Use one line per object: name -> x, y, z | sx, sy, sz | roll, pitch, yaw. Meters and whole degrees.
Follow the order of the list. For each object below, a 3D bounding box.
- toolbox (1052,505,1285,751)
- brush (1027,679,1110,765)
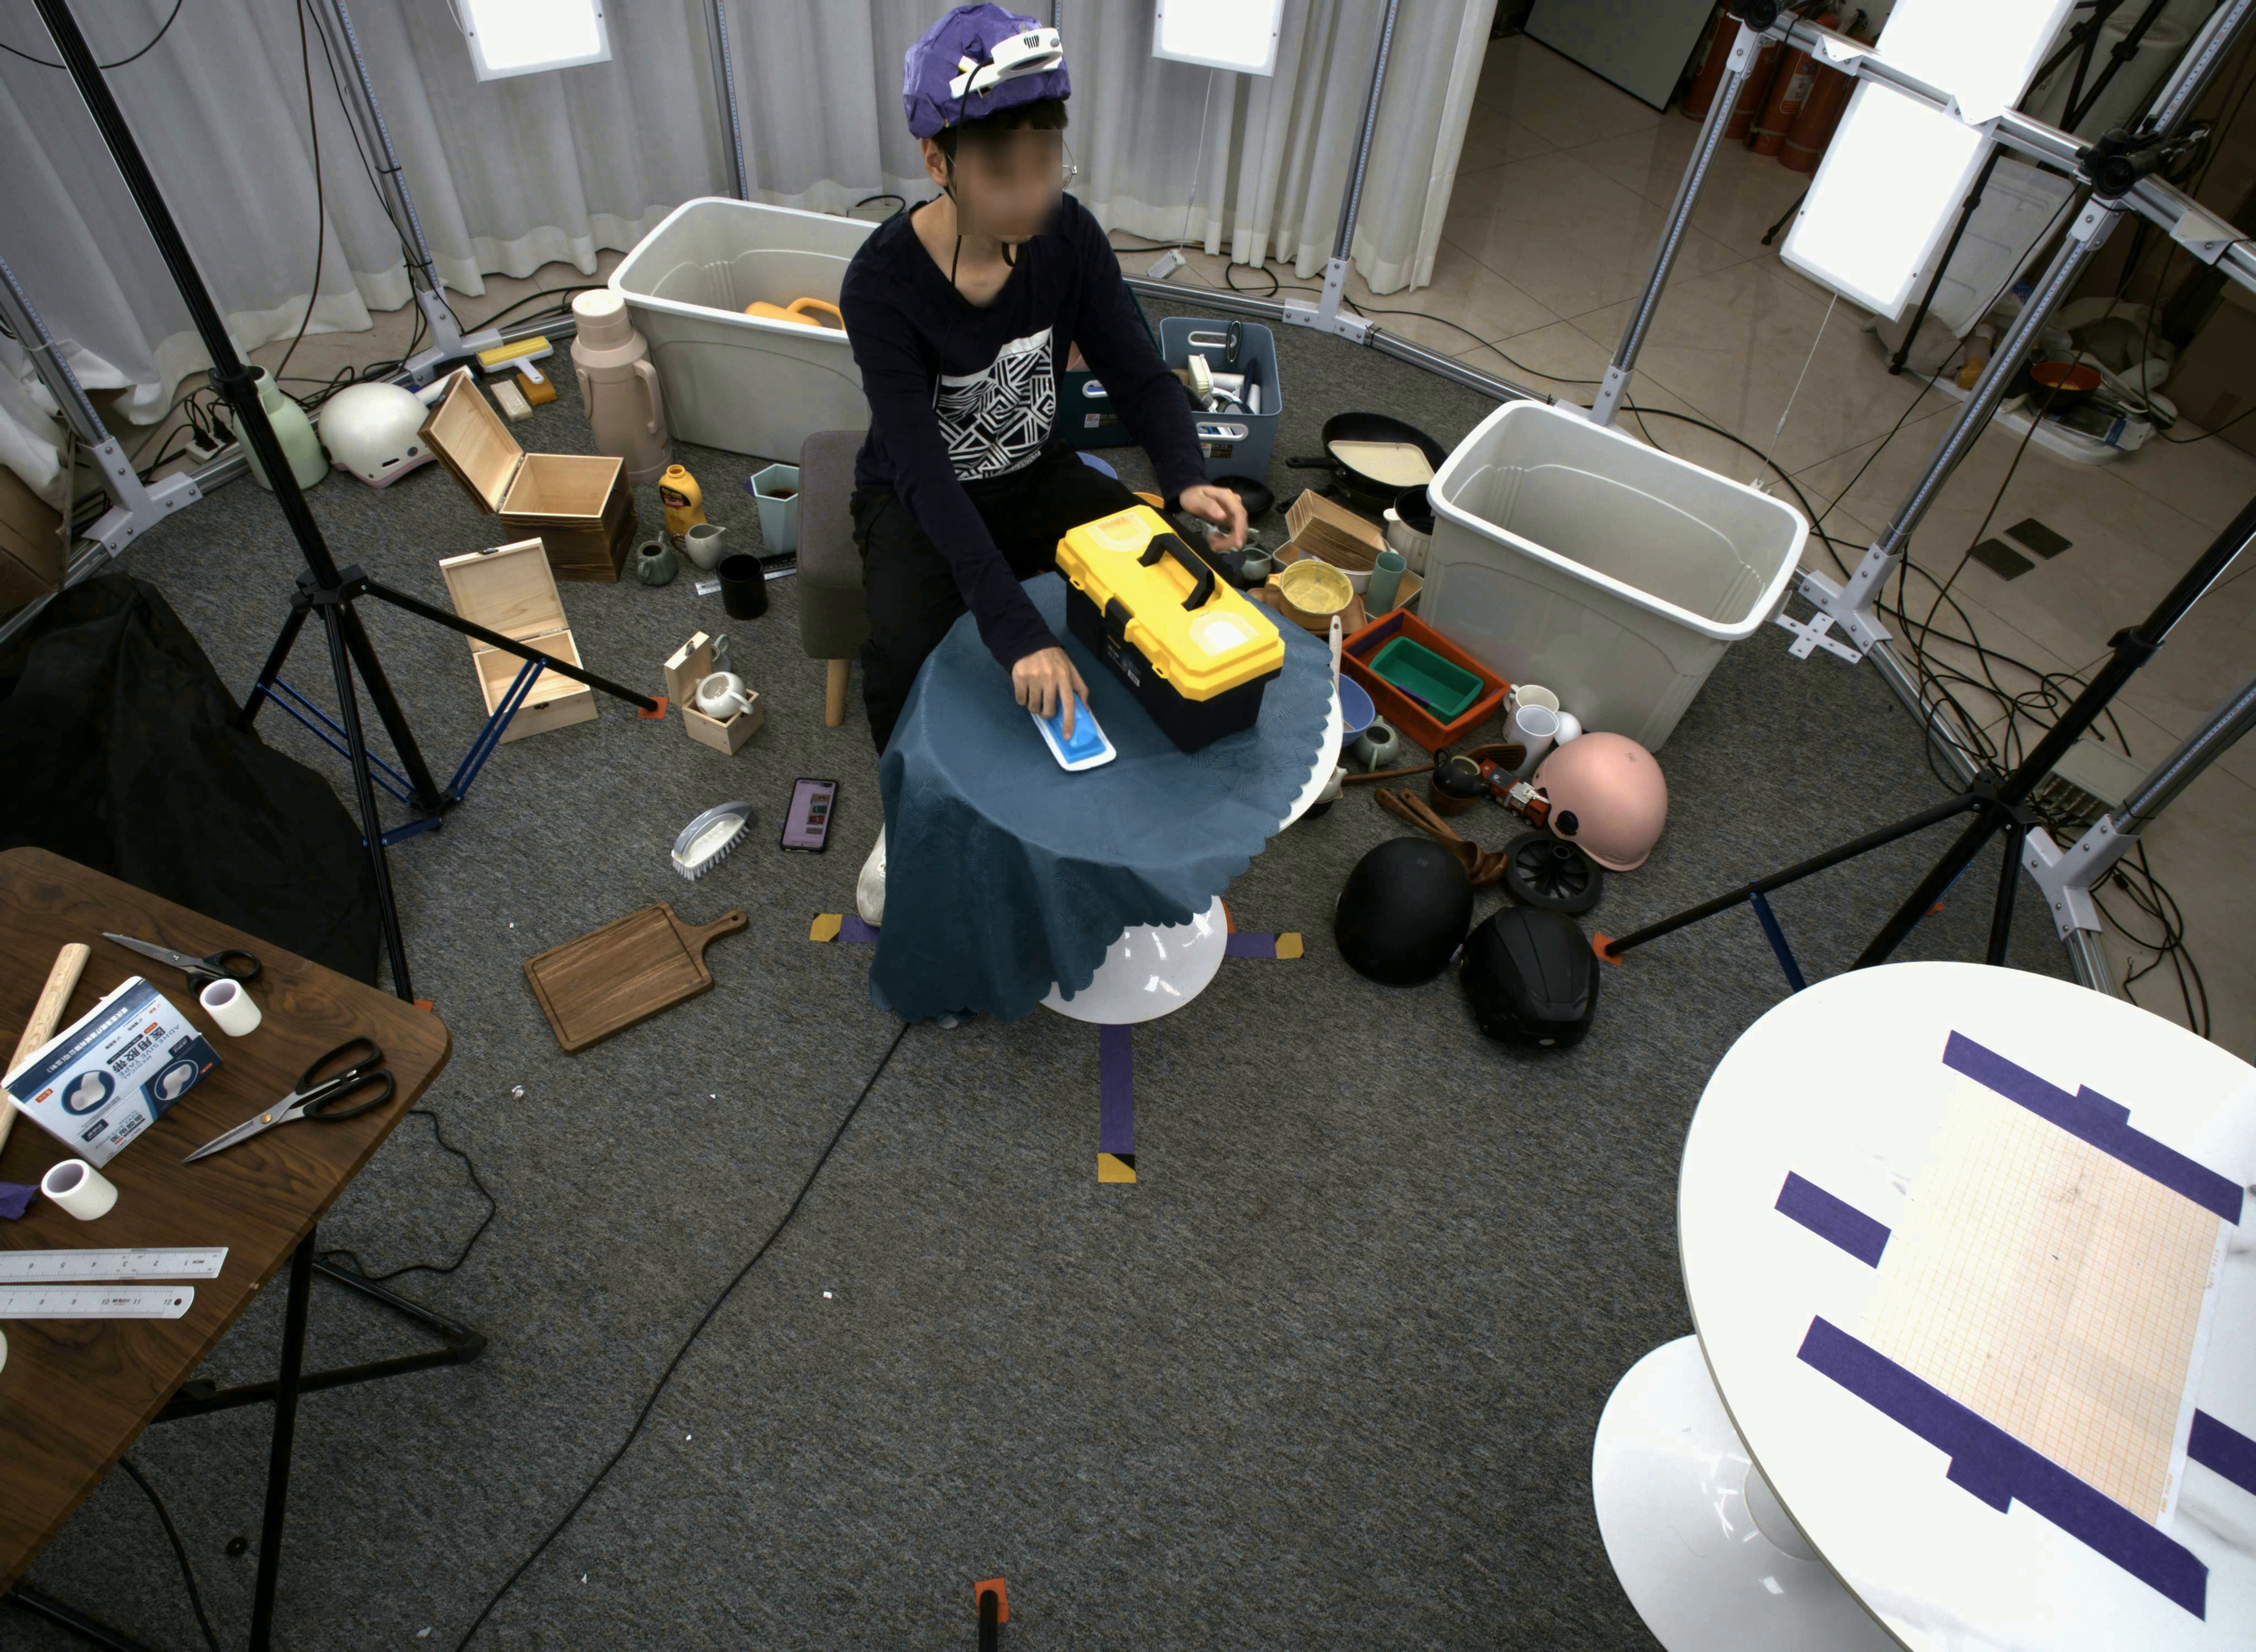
toolbox -> 0.048, -0.278, 1.800 | 0.182, 0.168, 0.358 | -24, 54, -23
brush -> -0.080, -0.150, 1.752 | 0.084, 0.054, 0.147 | -13, 53, -18
